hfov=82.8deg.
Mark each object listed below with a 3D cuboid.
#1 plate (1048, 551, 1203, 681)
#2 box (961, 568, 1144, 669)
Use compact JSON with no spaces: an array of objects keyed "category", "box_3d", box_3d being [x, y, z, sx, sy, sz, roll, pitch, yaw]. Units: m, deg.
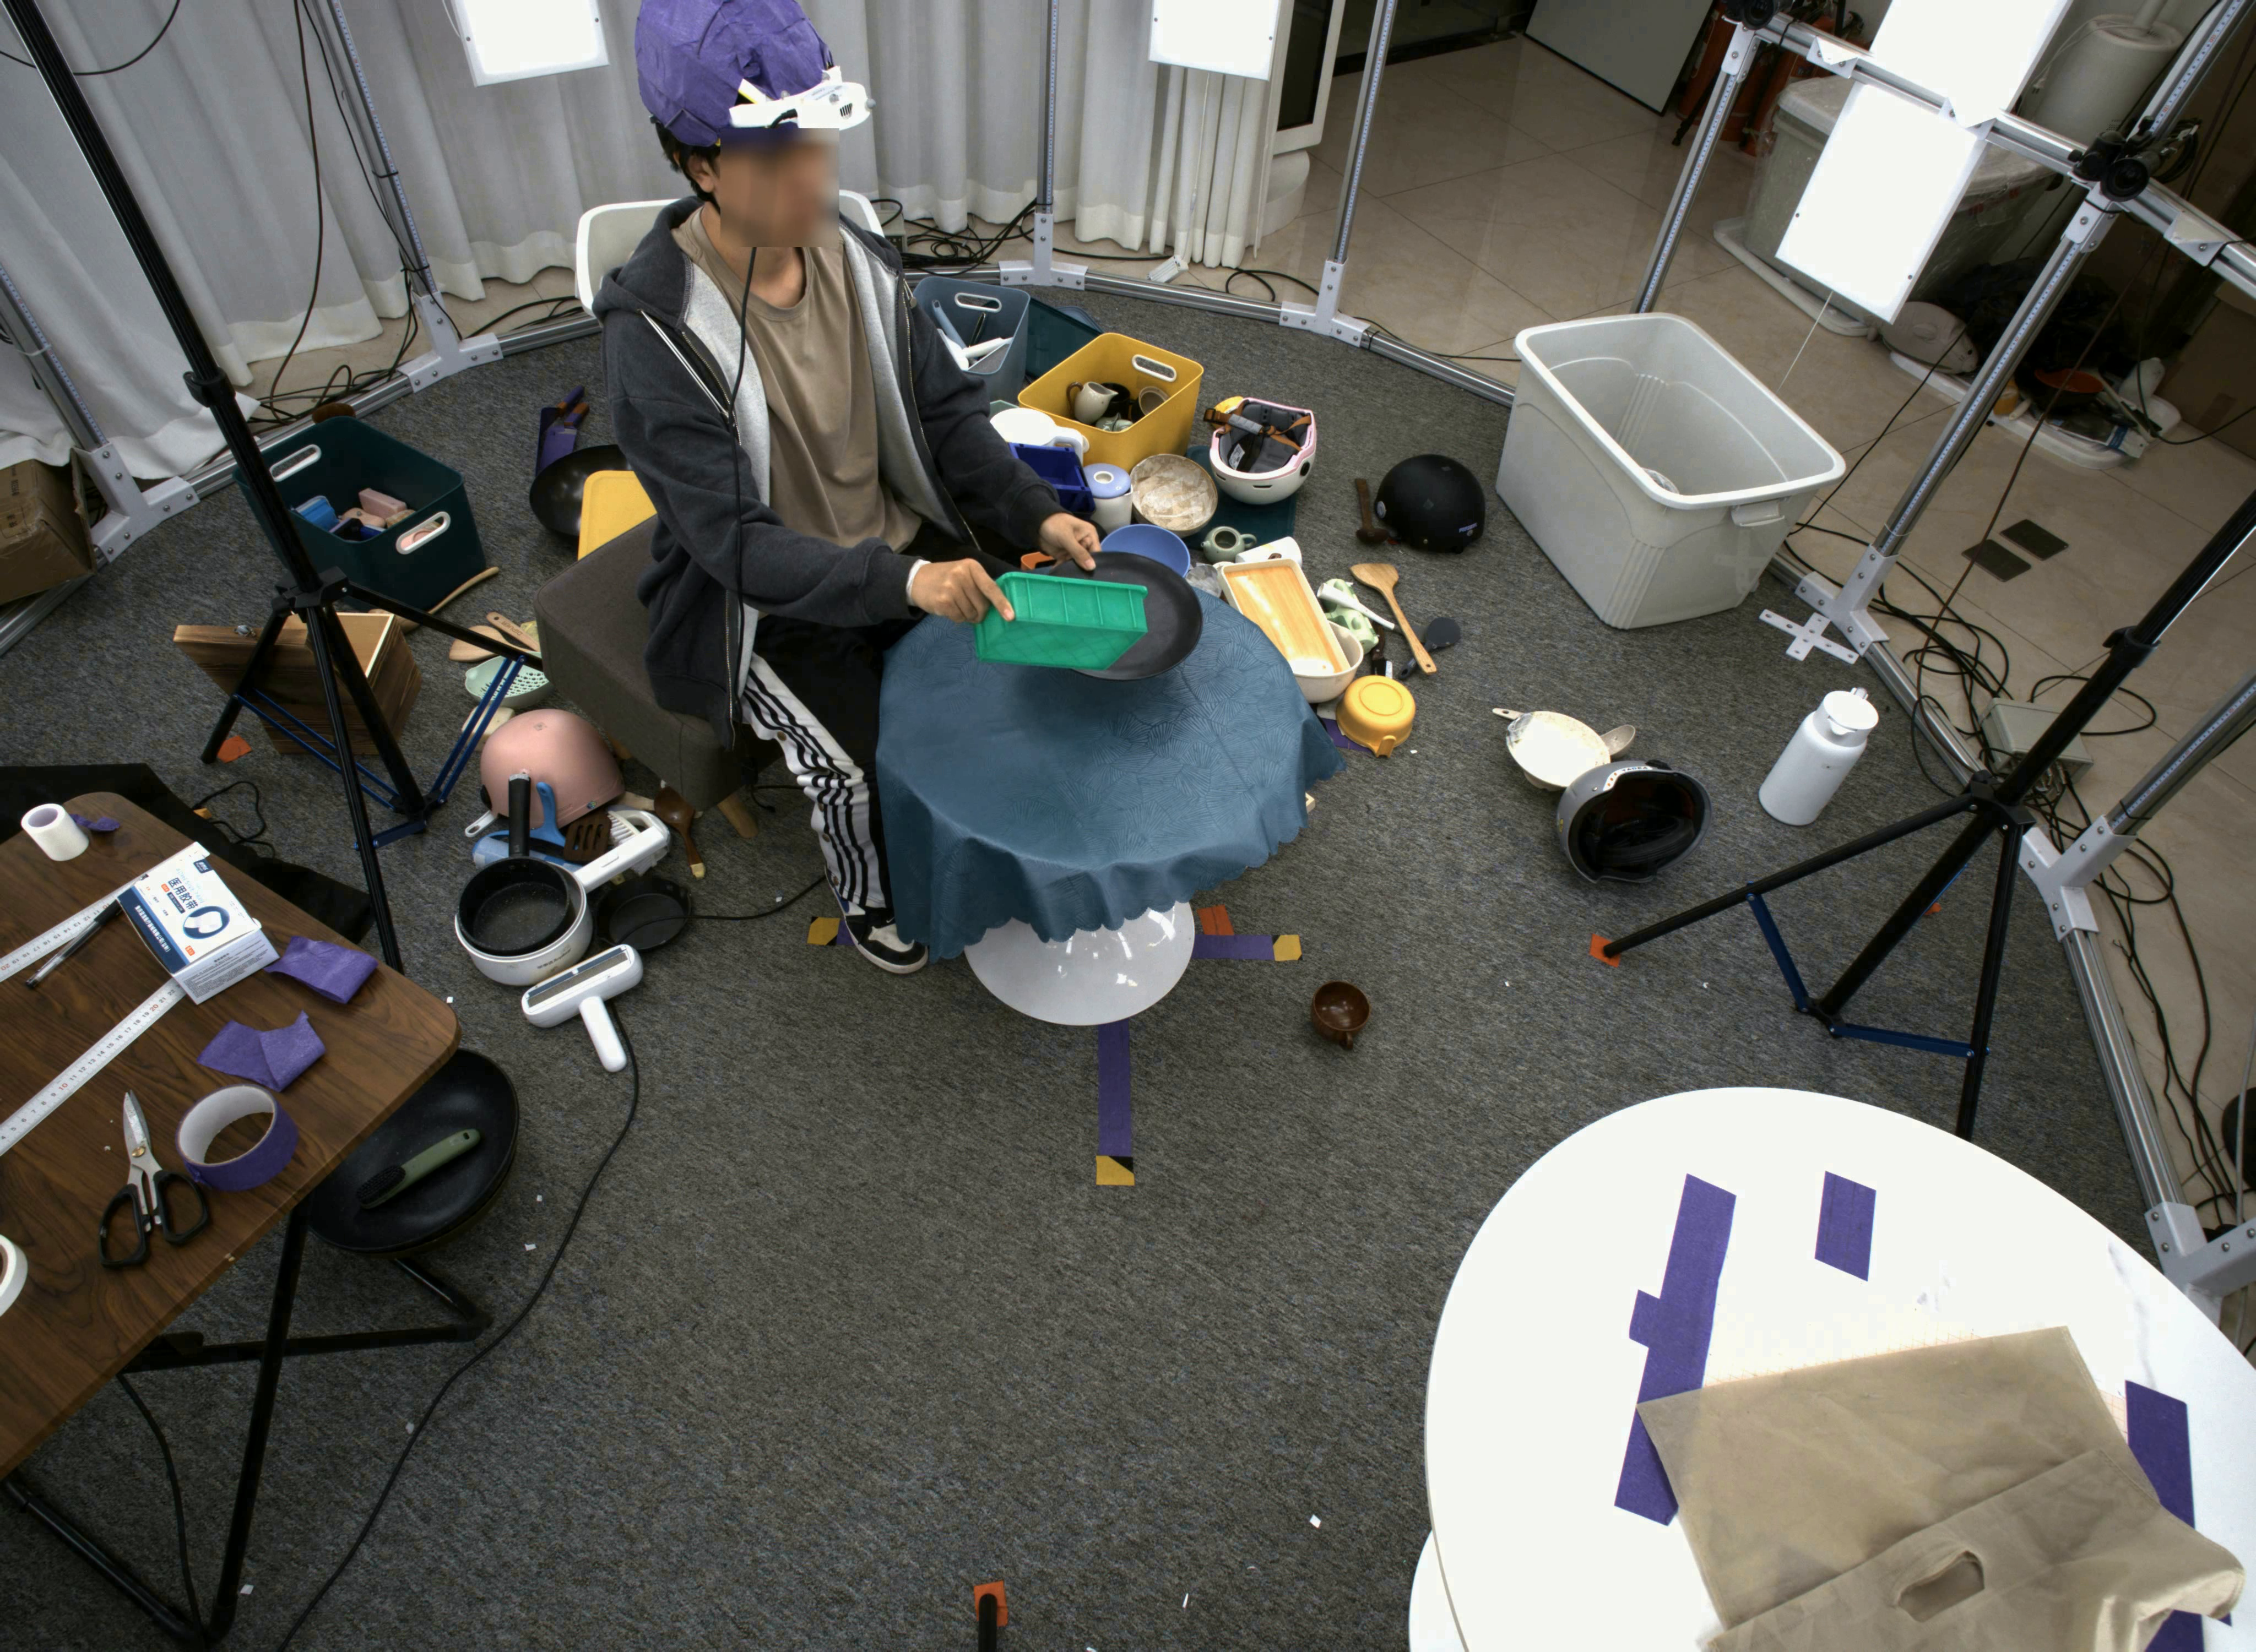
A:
[{"category":"plate","box_3d":[-0.017,-0.292,1.799,0.244,0.023,0.250,2,55,-2]},{"category":"box","box_3d":[-0.089,-0.251,1.593,0.209,0.137,0.066,-1,70,-31]}]
